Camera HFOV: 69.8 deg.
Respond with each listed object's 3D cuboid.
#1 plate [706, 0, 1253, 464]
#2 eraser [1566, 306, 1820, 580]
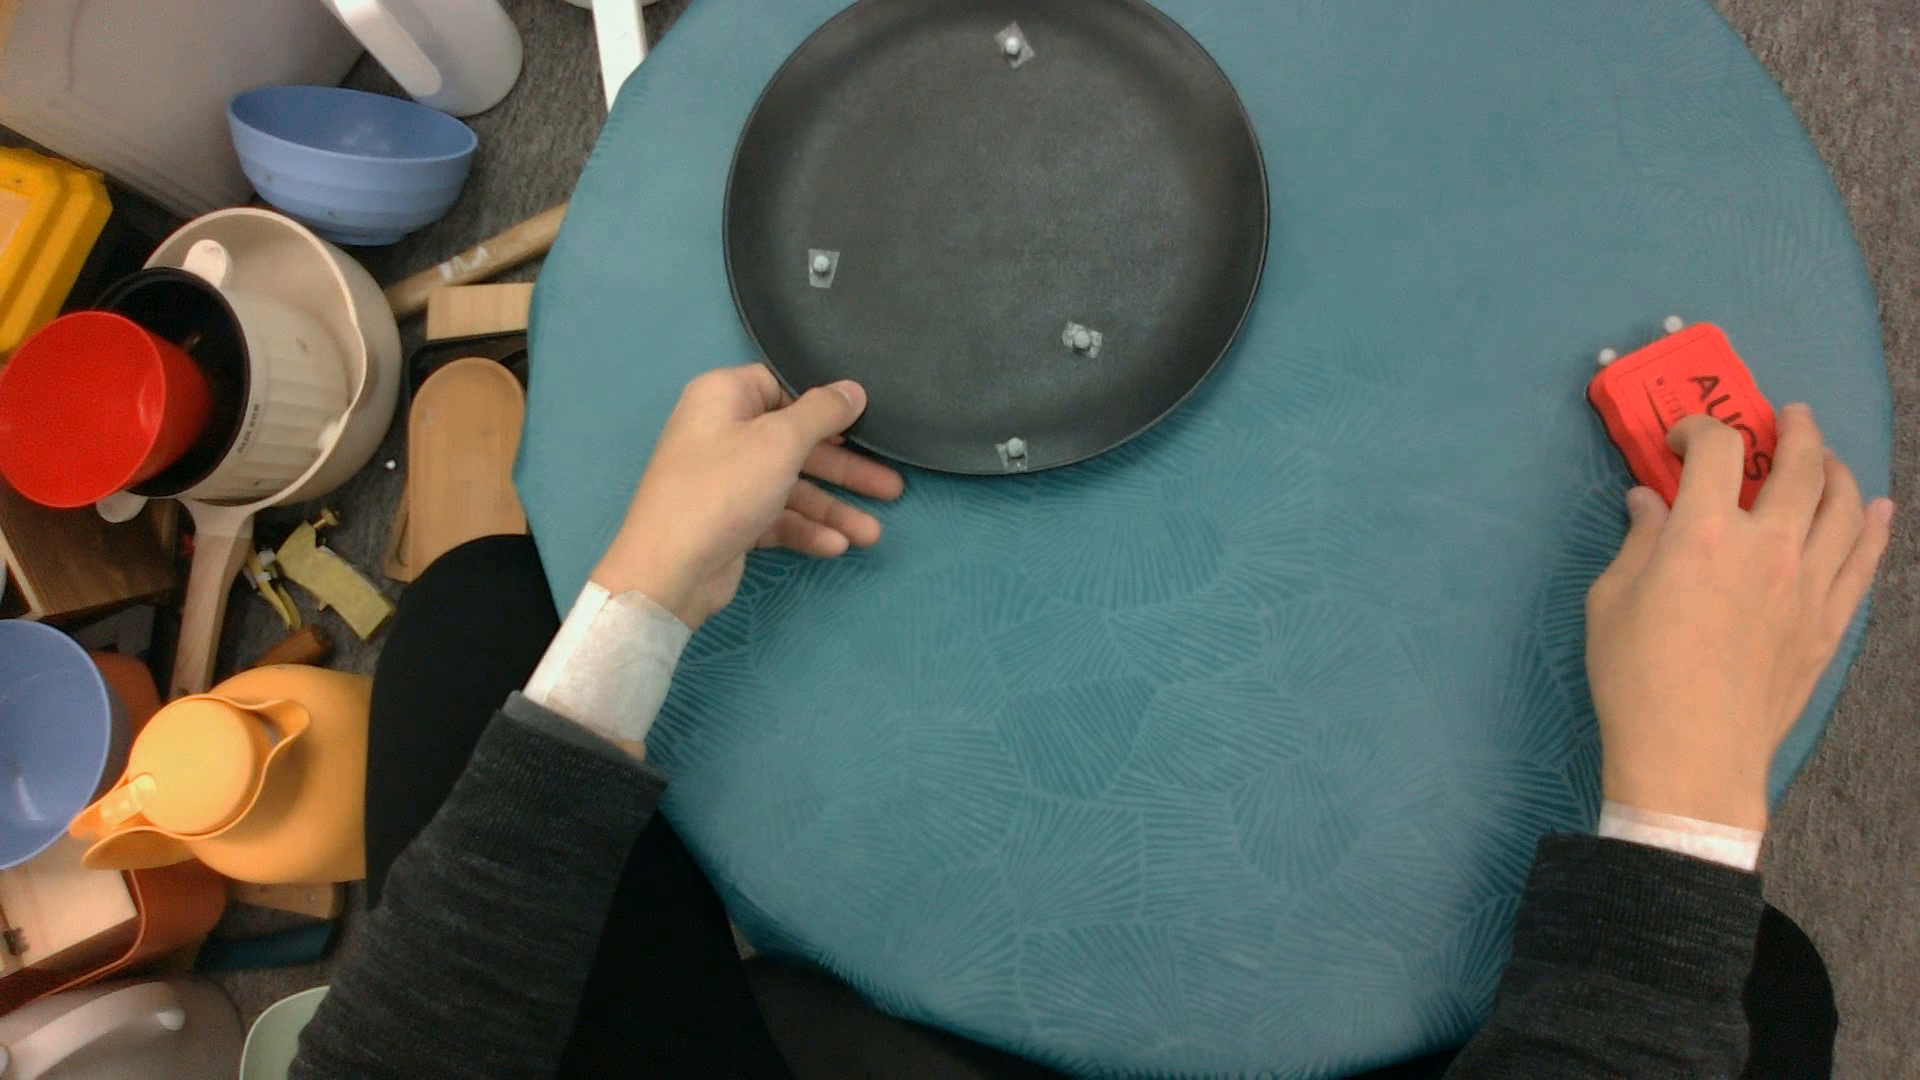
[{"bbox_3d":[0.008,-0.150,0.622,0.244,0.023,0.245,0,78,2],"label":"plate"},{"bbox_3d":[0.308,-0.041,0.581,0.059,0.023,0.108,-26,81,4],"label":"eraser"}]
